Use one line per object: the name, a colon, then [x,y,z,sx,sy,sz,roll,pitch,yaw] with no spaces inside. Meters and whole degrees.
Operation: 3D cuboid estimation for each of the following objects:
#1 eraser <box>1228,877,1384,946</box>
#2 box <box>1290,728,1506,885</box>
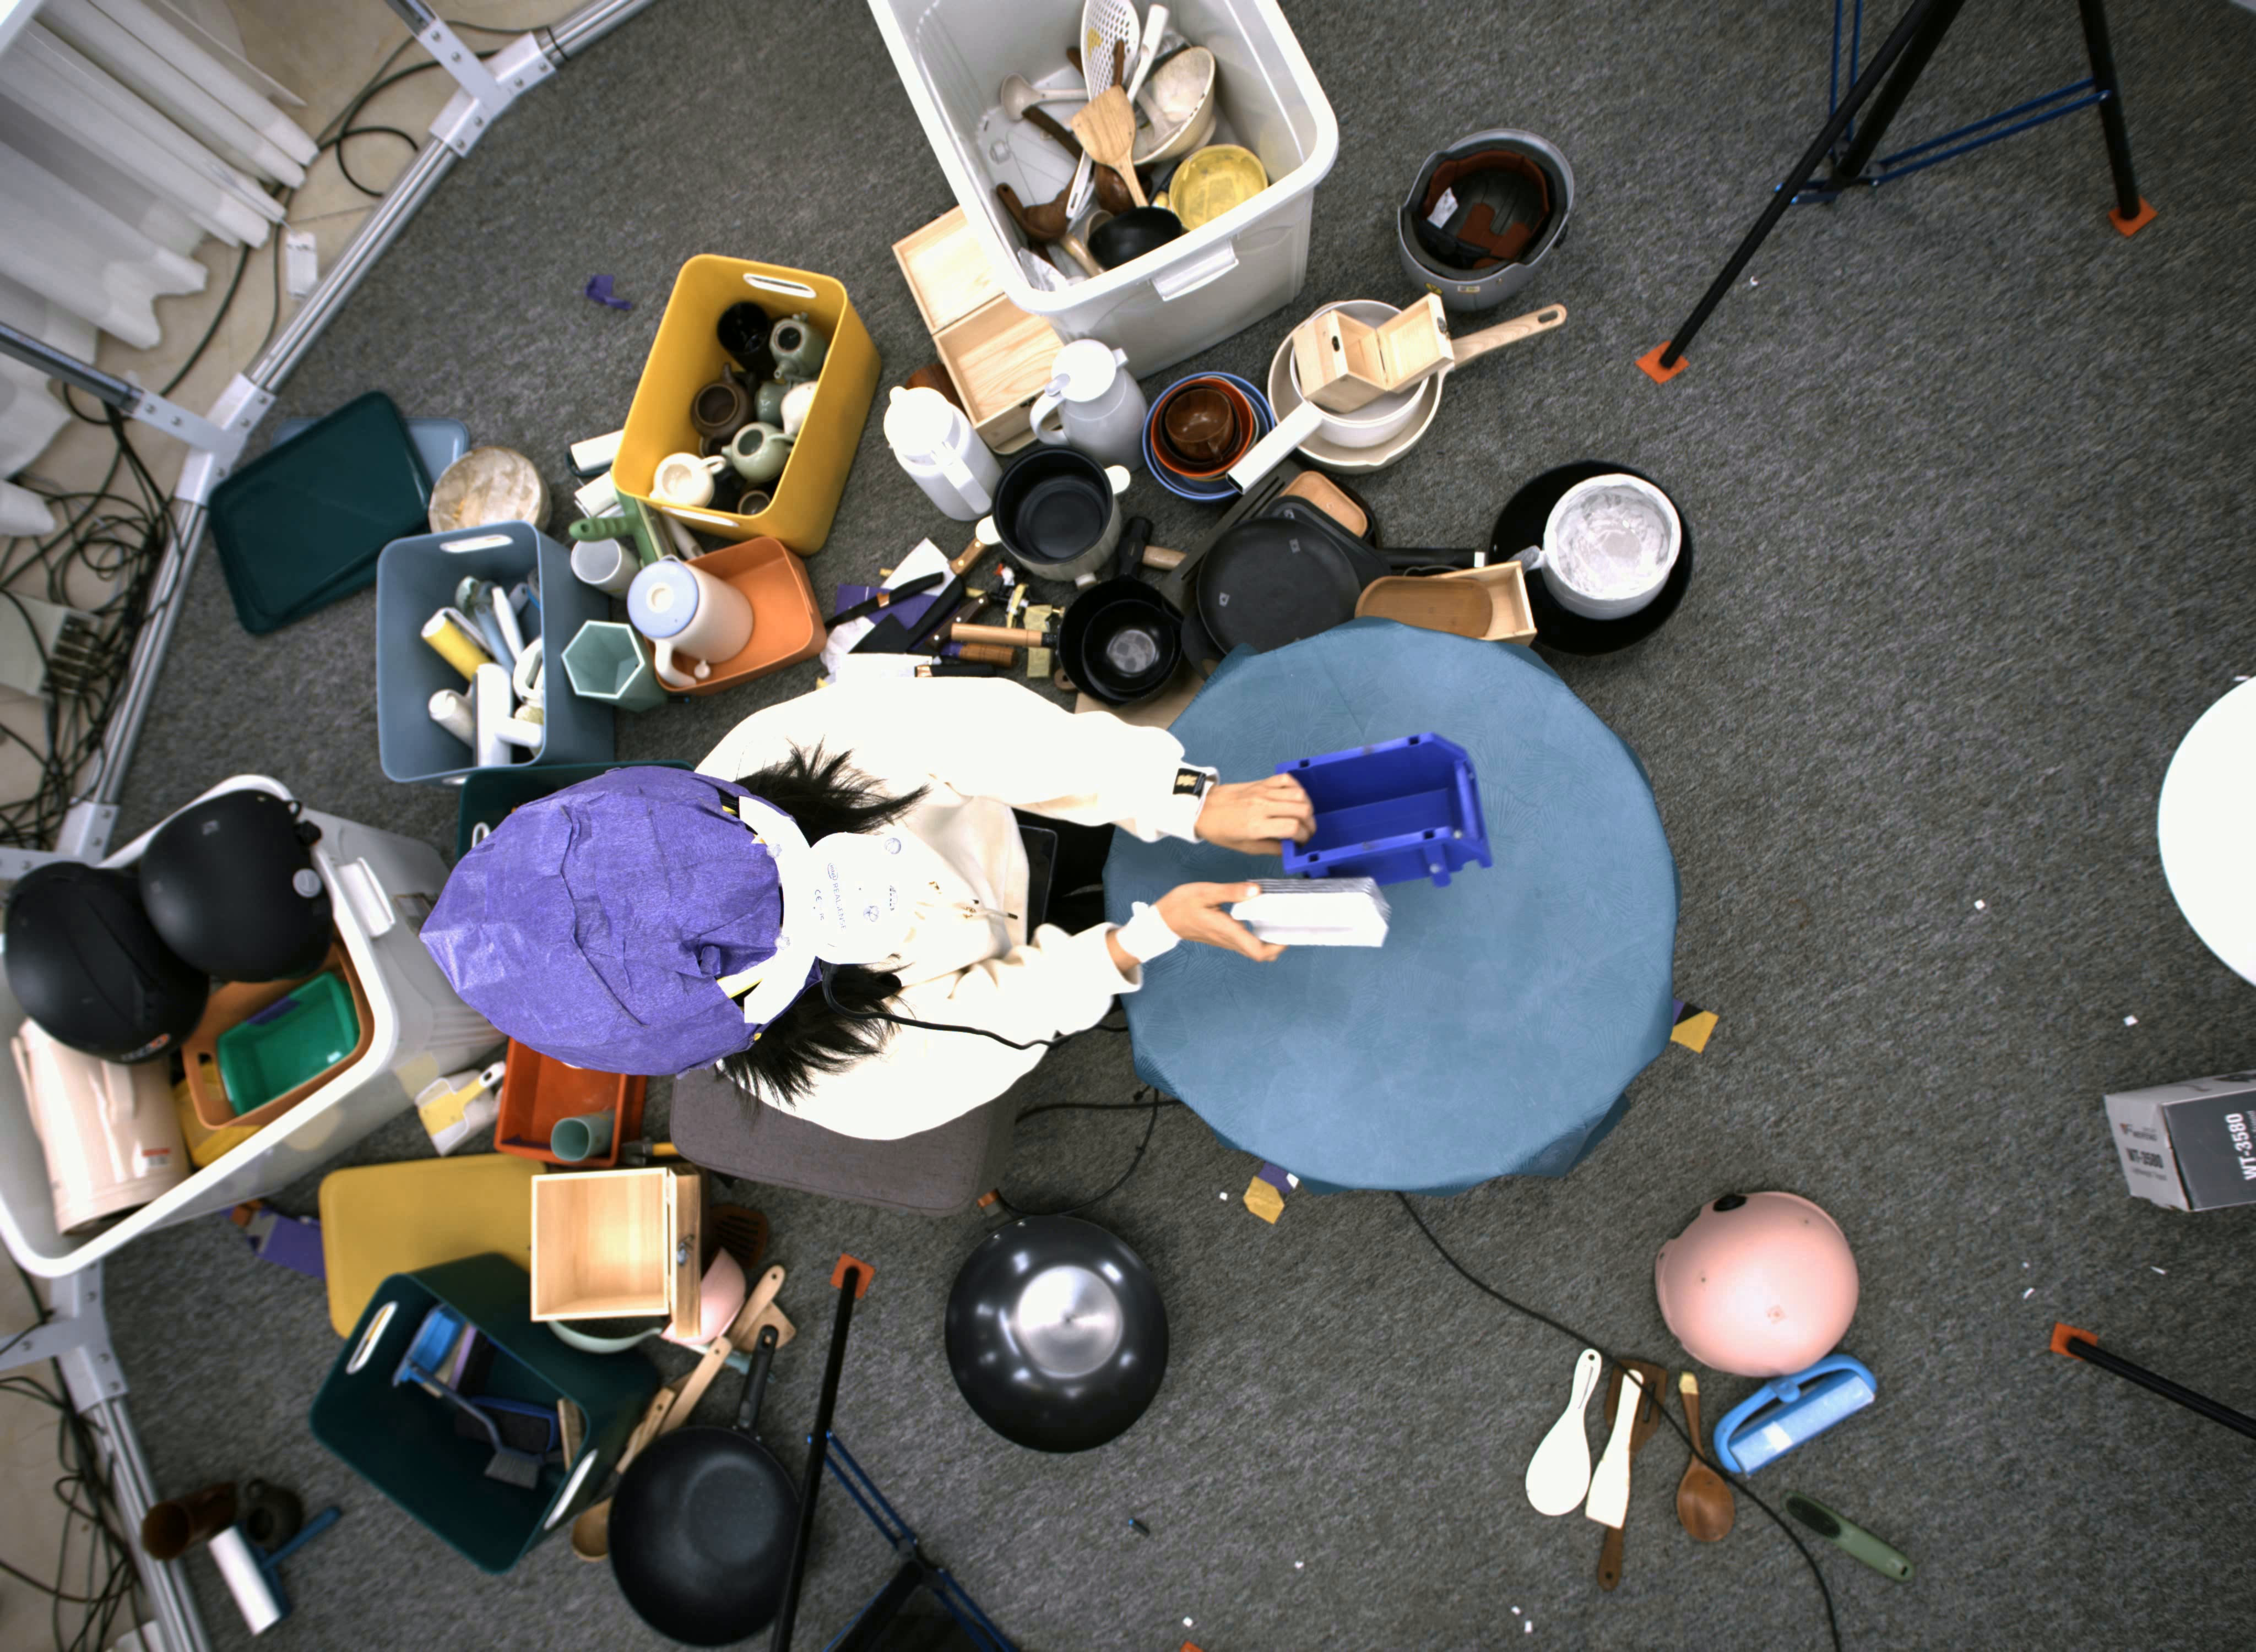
eraser: [0.164,0.078,1.272,0.135,0.050,0.045,-7,47,38]
box: [0.250,-0.014,1.277,0.181,0.083,0.121,-12,54,19]
